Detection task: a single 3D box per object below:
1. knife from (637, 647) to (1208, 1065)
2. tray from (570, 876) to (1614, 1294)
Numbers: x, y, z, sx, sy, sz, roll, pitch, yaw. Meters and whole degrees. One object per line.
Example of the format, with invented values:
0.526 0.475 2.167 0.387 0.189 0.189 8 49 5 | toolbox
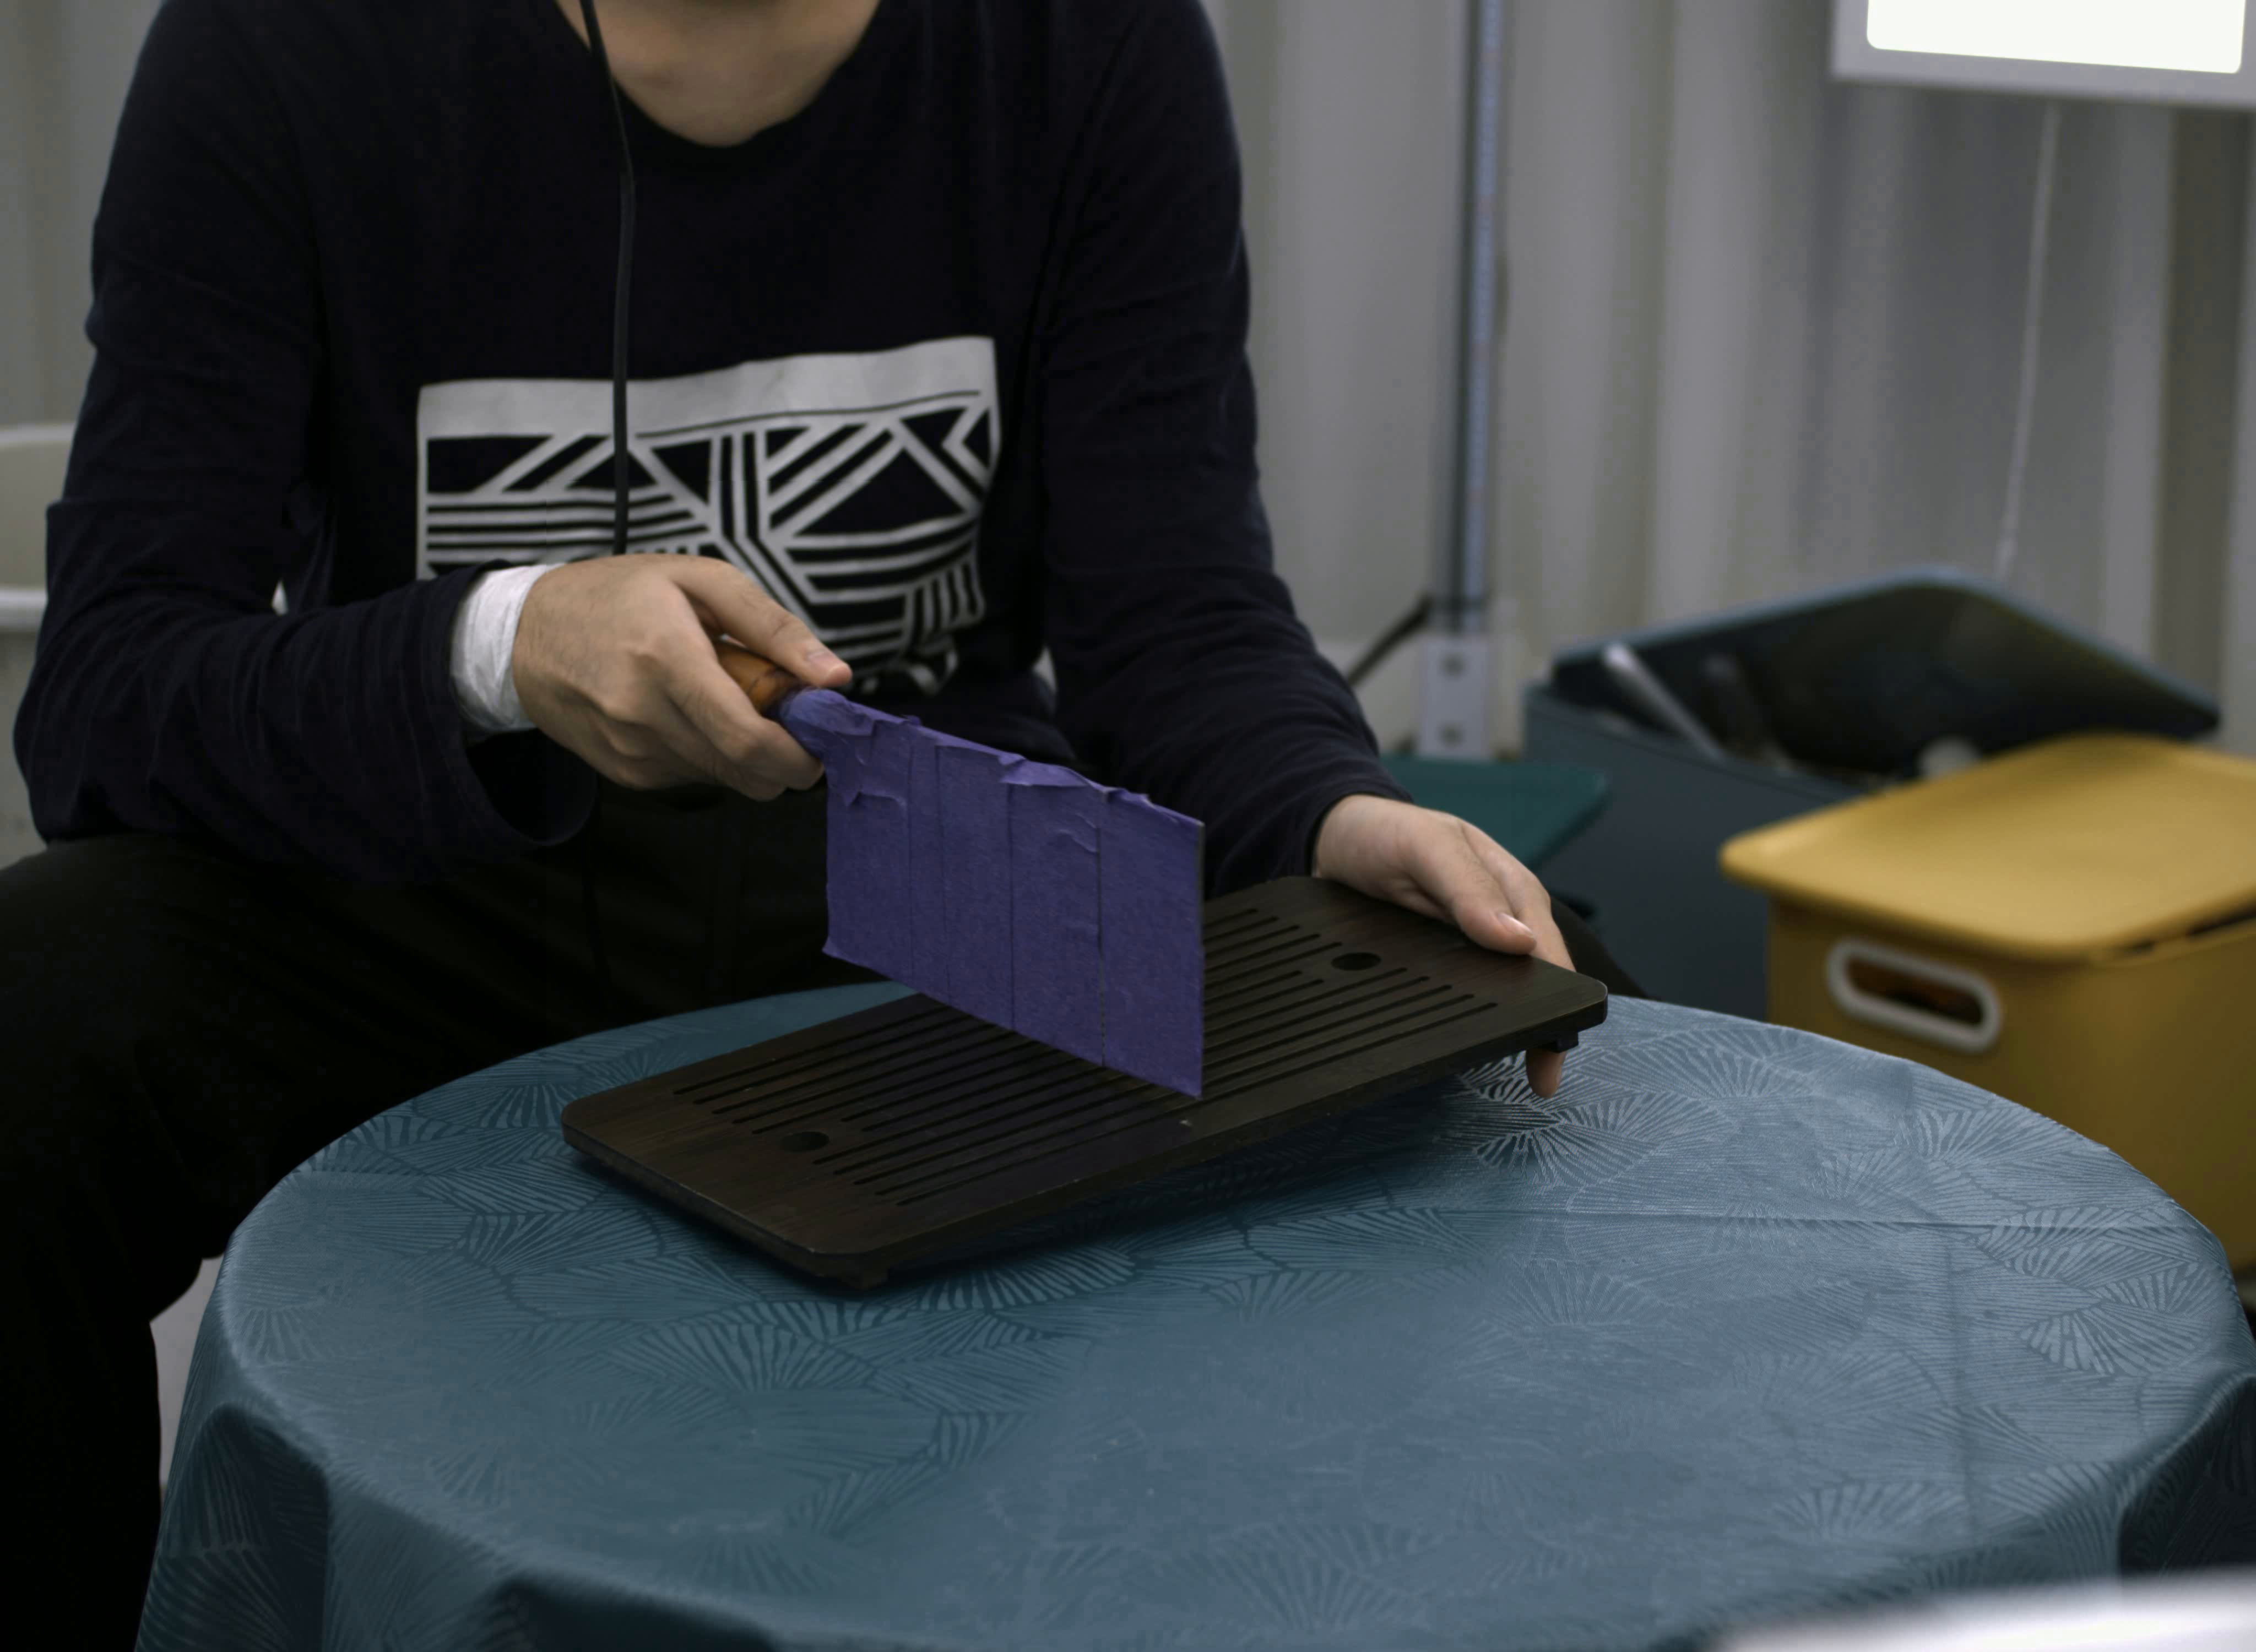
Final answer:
-0.071 0.009 1.709 0.032 0.104 0.311 -7 15 -34 | knife
-0.009 0.079 1.664 0.307 0.019 0.168 -17 22 -33 | tray
